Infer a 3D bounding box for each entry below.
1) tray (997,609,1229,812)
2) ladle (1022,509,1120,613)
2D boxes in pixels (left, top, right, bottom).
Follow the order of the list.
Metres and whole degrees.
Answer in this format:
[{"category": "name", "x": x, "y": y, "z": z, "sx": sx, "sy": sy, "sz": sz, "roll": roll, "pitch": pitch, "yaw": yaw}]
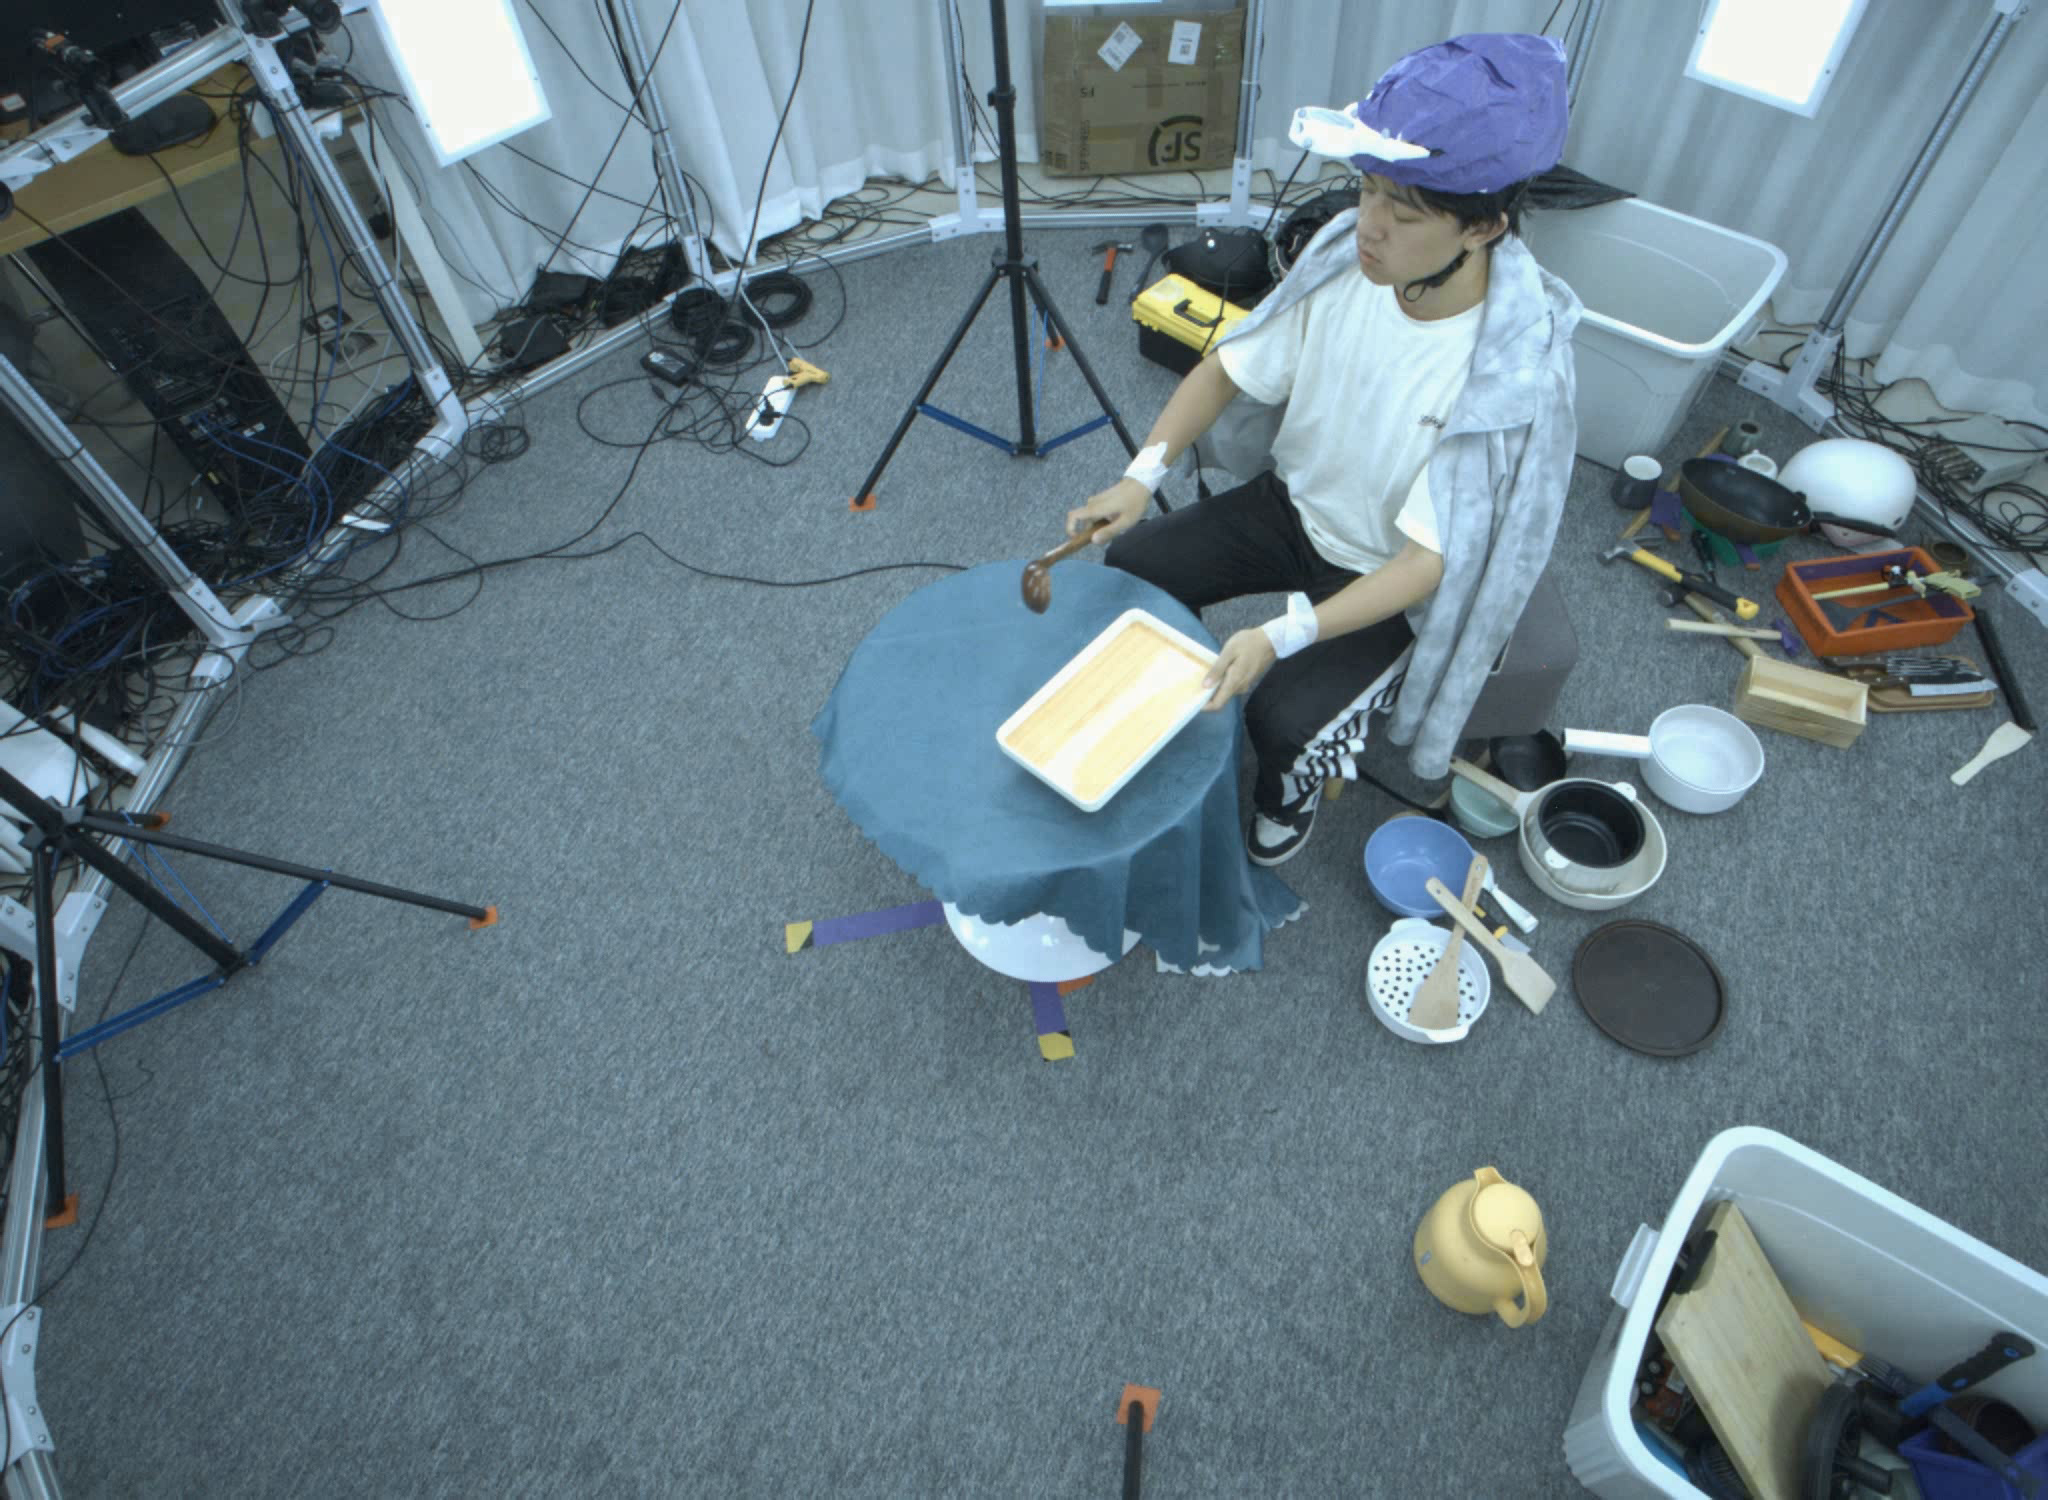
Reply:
[{"category": "tray", "x": 0.126, "y": -0.062, "z": 1.724, "sx": 0.188, "sy": 0.028, "sz": 0.302, "roll": 36, "pitch": 69, "yaw": 29}, {"category": "ladle", "x": 0.087, "y": -0.290, "z": 1.831, "sx": 0.076, "sy": 0.082, "sz": 0.277, "roll": 39, "pitch": 49, "yaw": 16}]
